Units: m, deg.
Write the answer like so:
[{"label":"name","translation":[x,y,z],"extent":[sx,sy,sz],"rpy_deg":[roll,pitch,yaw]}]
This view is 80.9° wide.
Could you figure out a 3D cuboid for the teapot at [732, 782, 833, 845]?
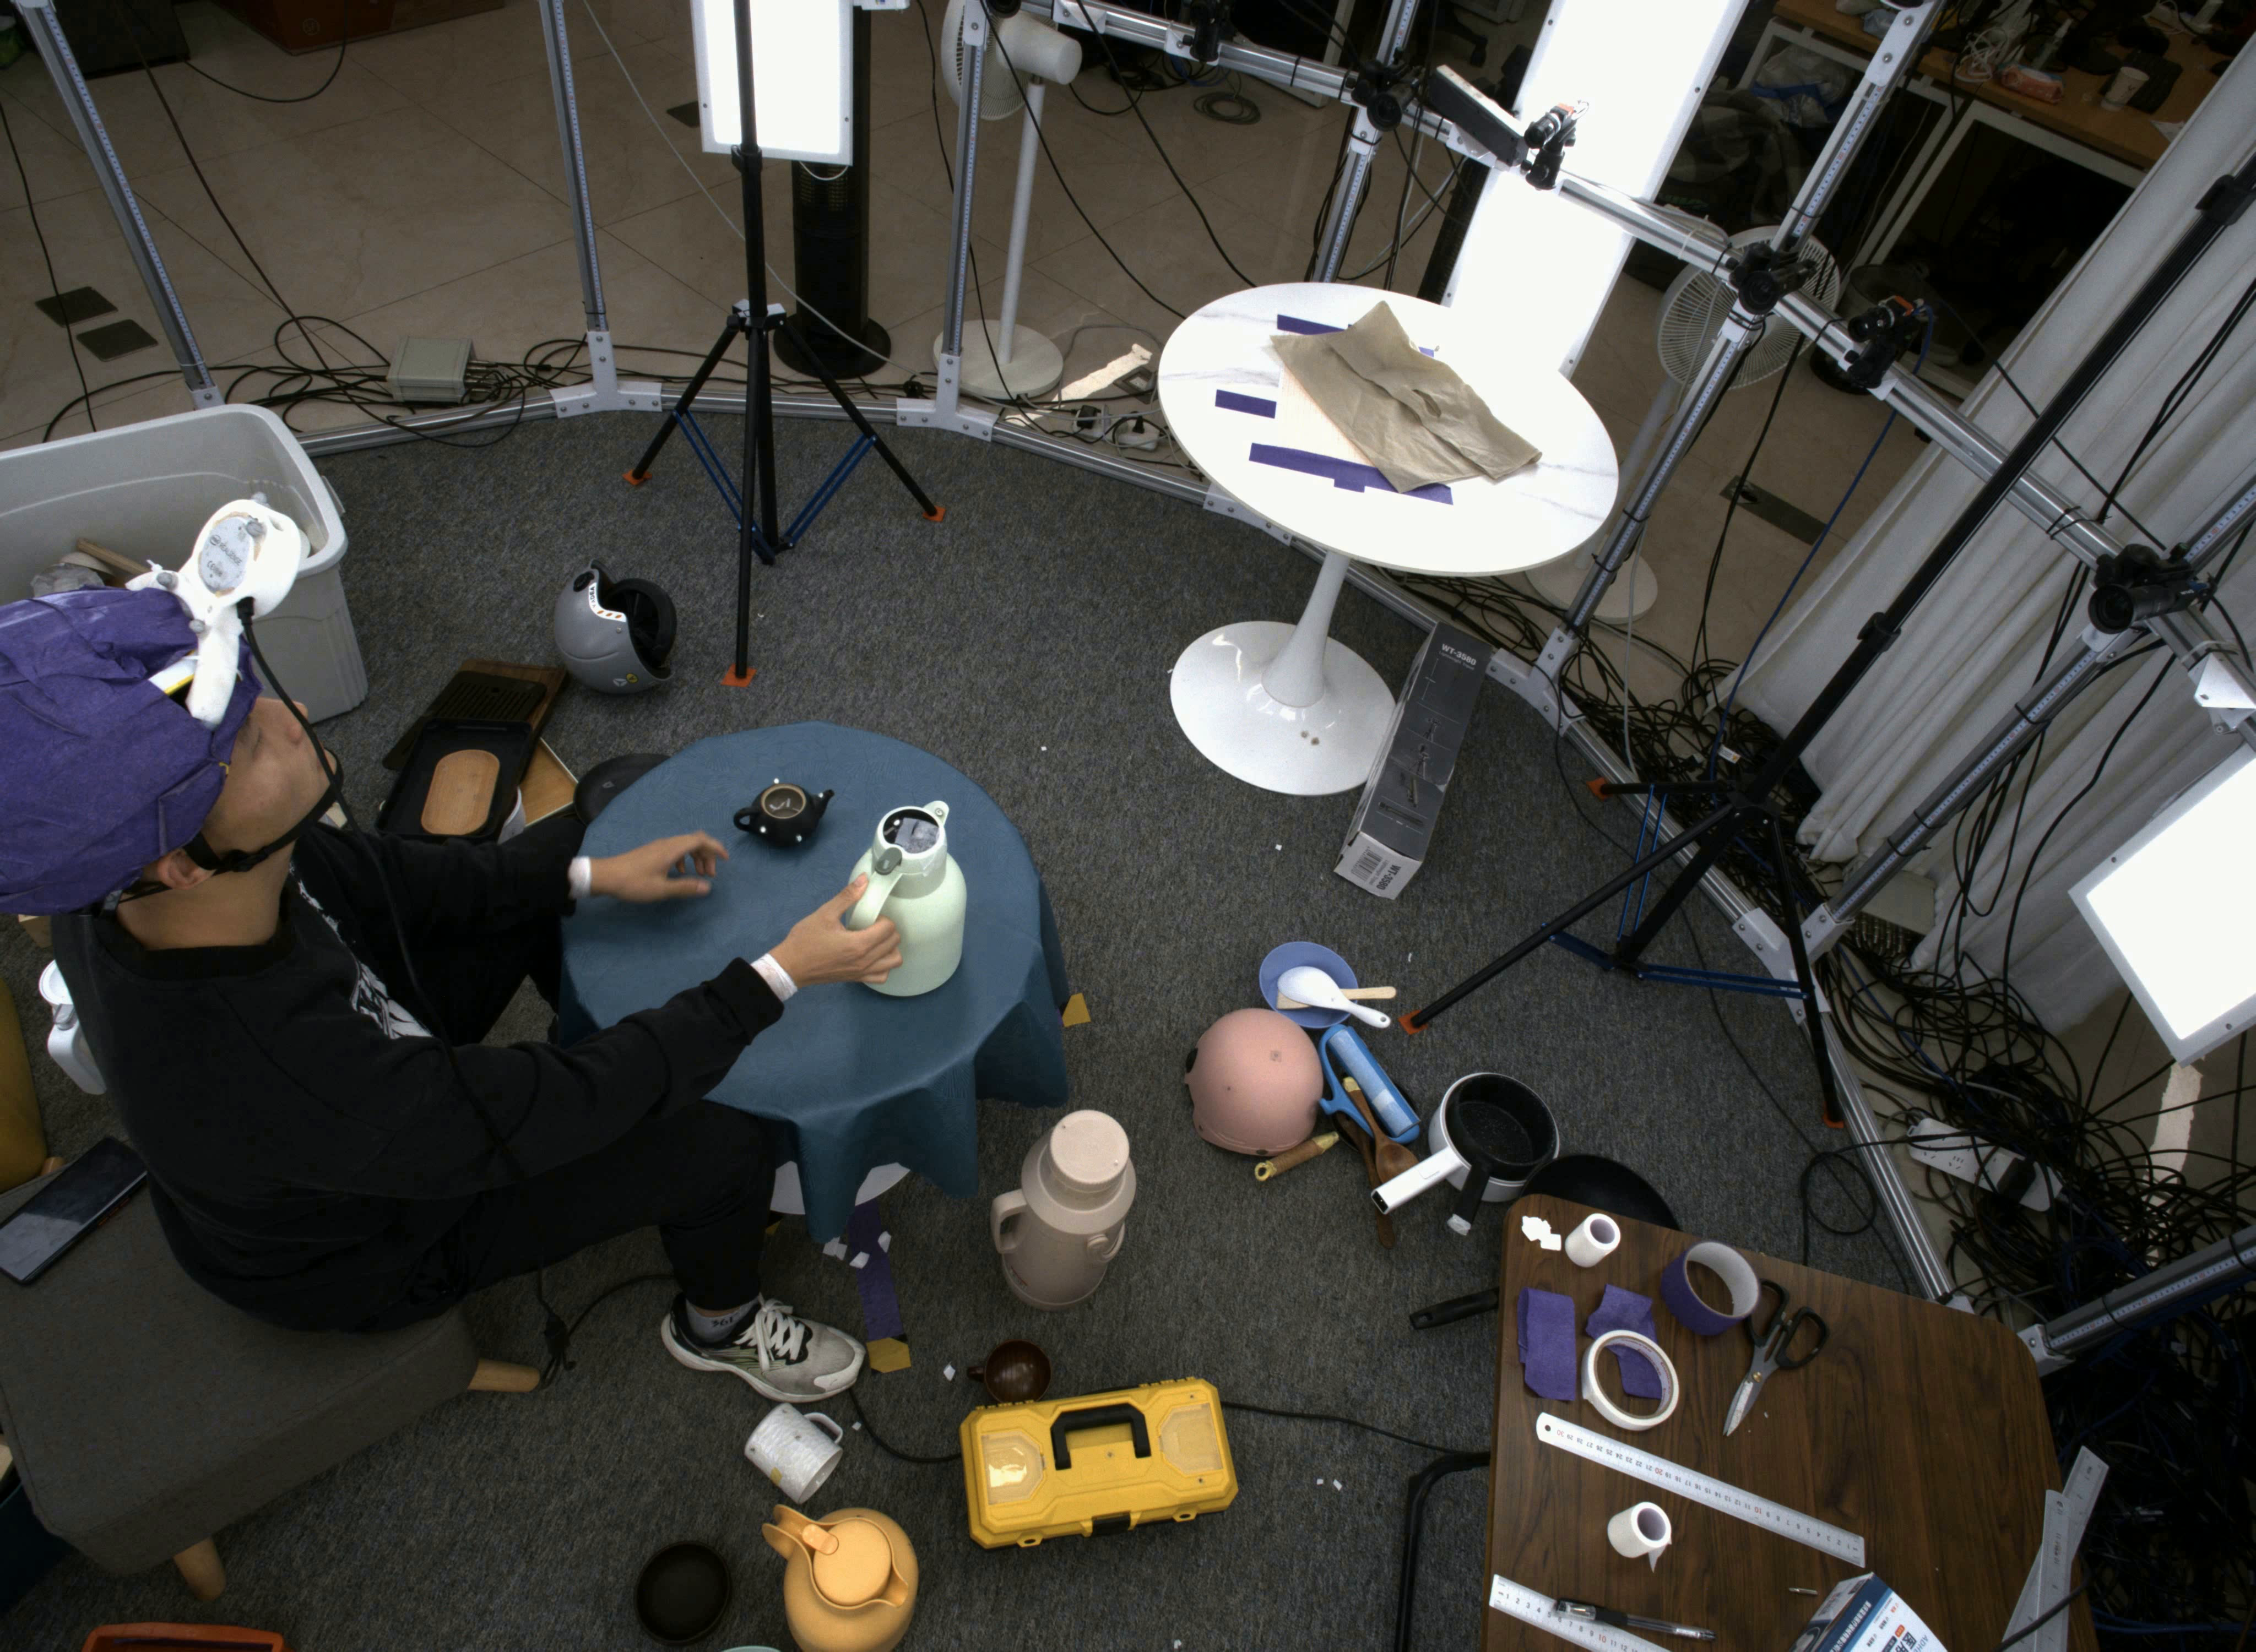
[{"label":"teapot","translation":[-0.451,-0.018,1.693],"extent":[0.134,0.054,0.088],"rpy_deg":[-14,56,-23]}]

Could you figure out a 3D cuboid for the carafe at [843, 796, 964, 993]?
[{"label":"carafe","translation":[-0.271,0.087,1.534],"extent":[0.142,0.261,0.186],"rpy_deg":[26,55,6]}]
